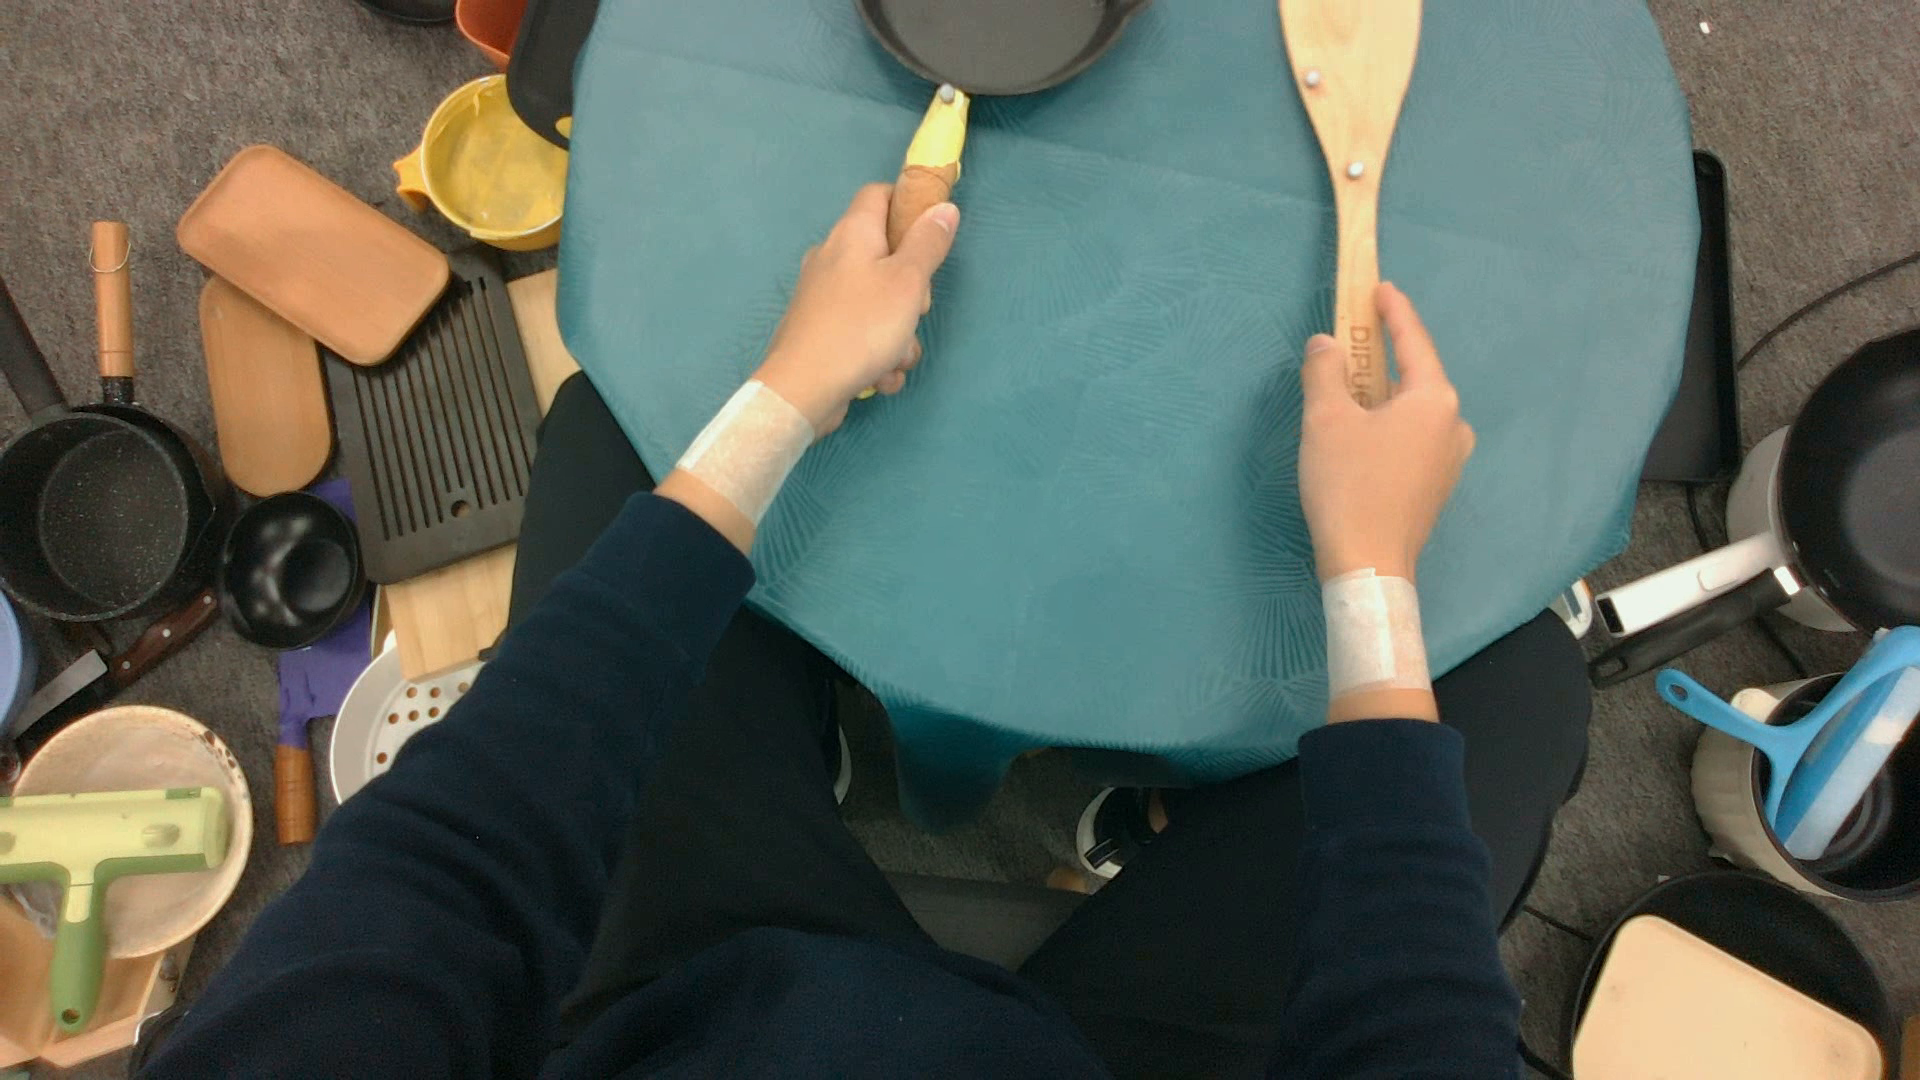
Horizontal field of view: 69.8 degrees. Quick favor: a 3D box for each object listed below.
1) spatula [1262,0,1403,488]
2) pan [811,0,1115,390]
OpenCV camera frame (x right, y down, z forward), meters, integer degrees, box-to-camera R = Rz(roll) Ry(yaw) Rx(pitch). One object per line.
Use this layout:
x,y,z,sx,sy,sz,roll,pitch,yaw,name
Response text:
0.195,-0.183,0.711,0.080,0.016,0.328,3,73,1,spatula
-0.022,-0.227,0.705,0.169,0.049,0.325,17,80,0,pan
